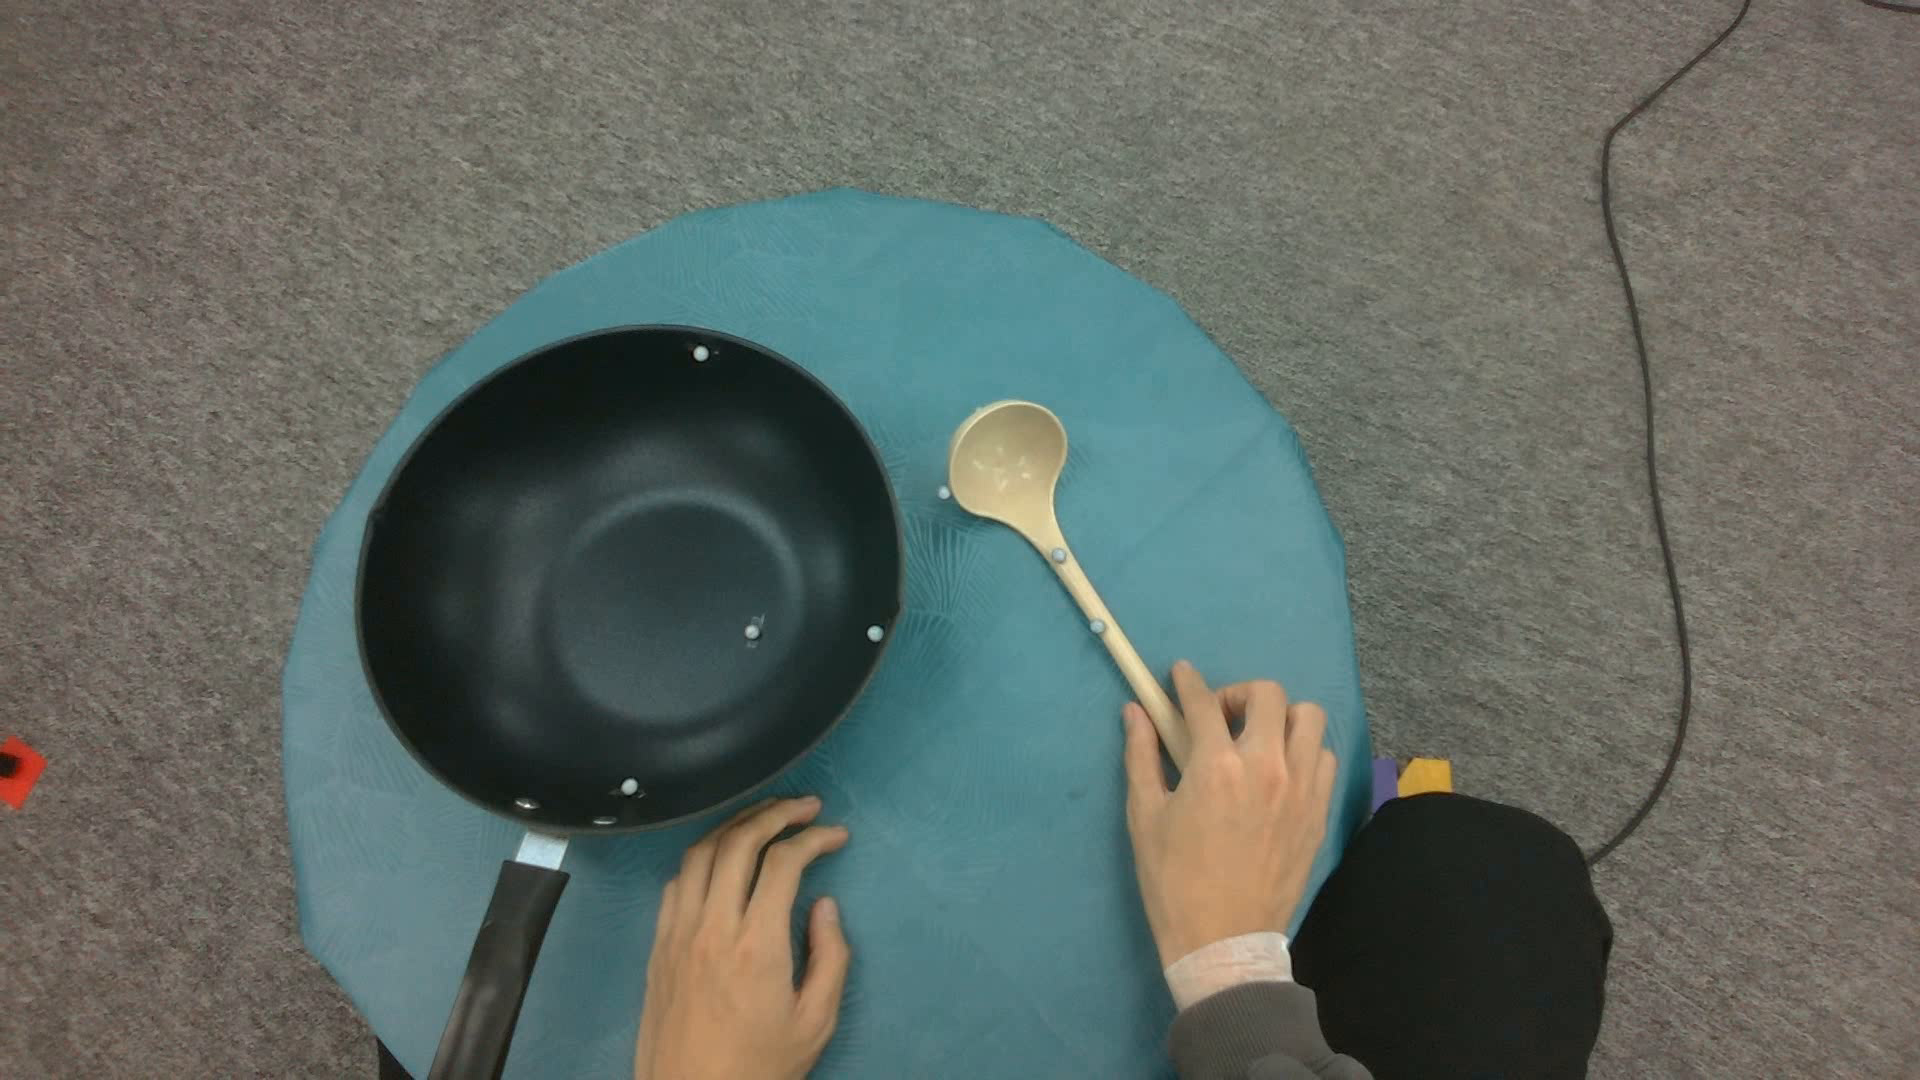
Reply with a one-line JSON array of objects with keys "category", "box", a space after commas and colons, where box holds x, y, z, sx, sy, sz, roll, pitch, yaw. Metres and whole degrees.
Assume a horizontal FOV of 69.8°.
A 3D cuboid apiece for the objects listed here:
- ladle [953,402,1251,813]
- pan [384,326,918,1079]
[{"category": "ladle", "box": [0.083, 0.033, 0.744, 0.072, 0.072, 0.255, -30, 69, -12]}, {"category": "pan", "box": [-0.182, 0.109, 0.726, 0.288, 0.086, 0.465, 11, 70, 8]}]
